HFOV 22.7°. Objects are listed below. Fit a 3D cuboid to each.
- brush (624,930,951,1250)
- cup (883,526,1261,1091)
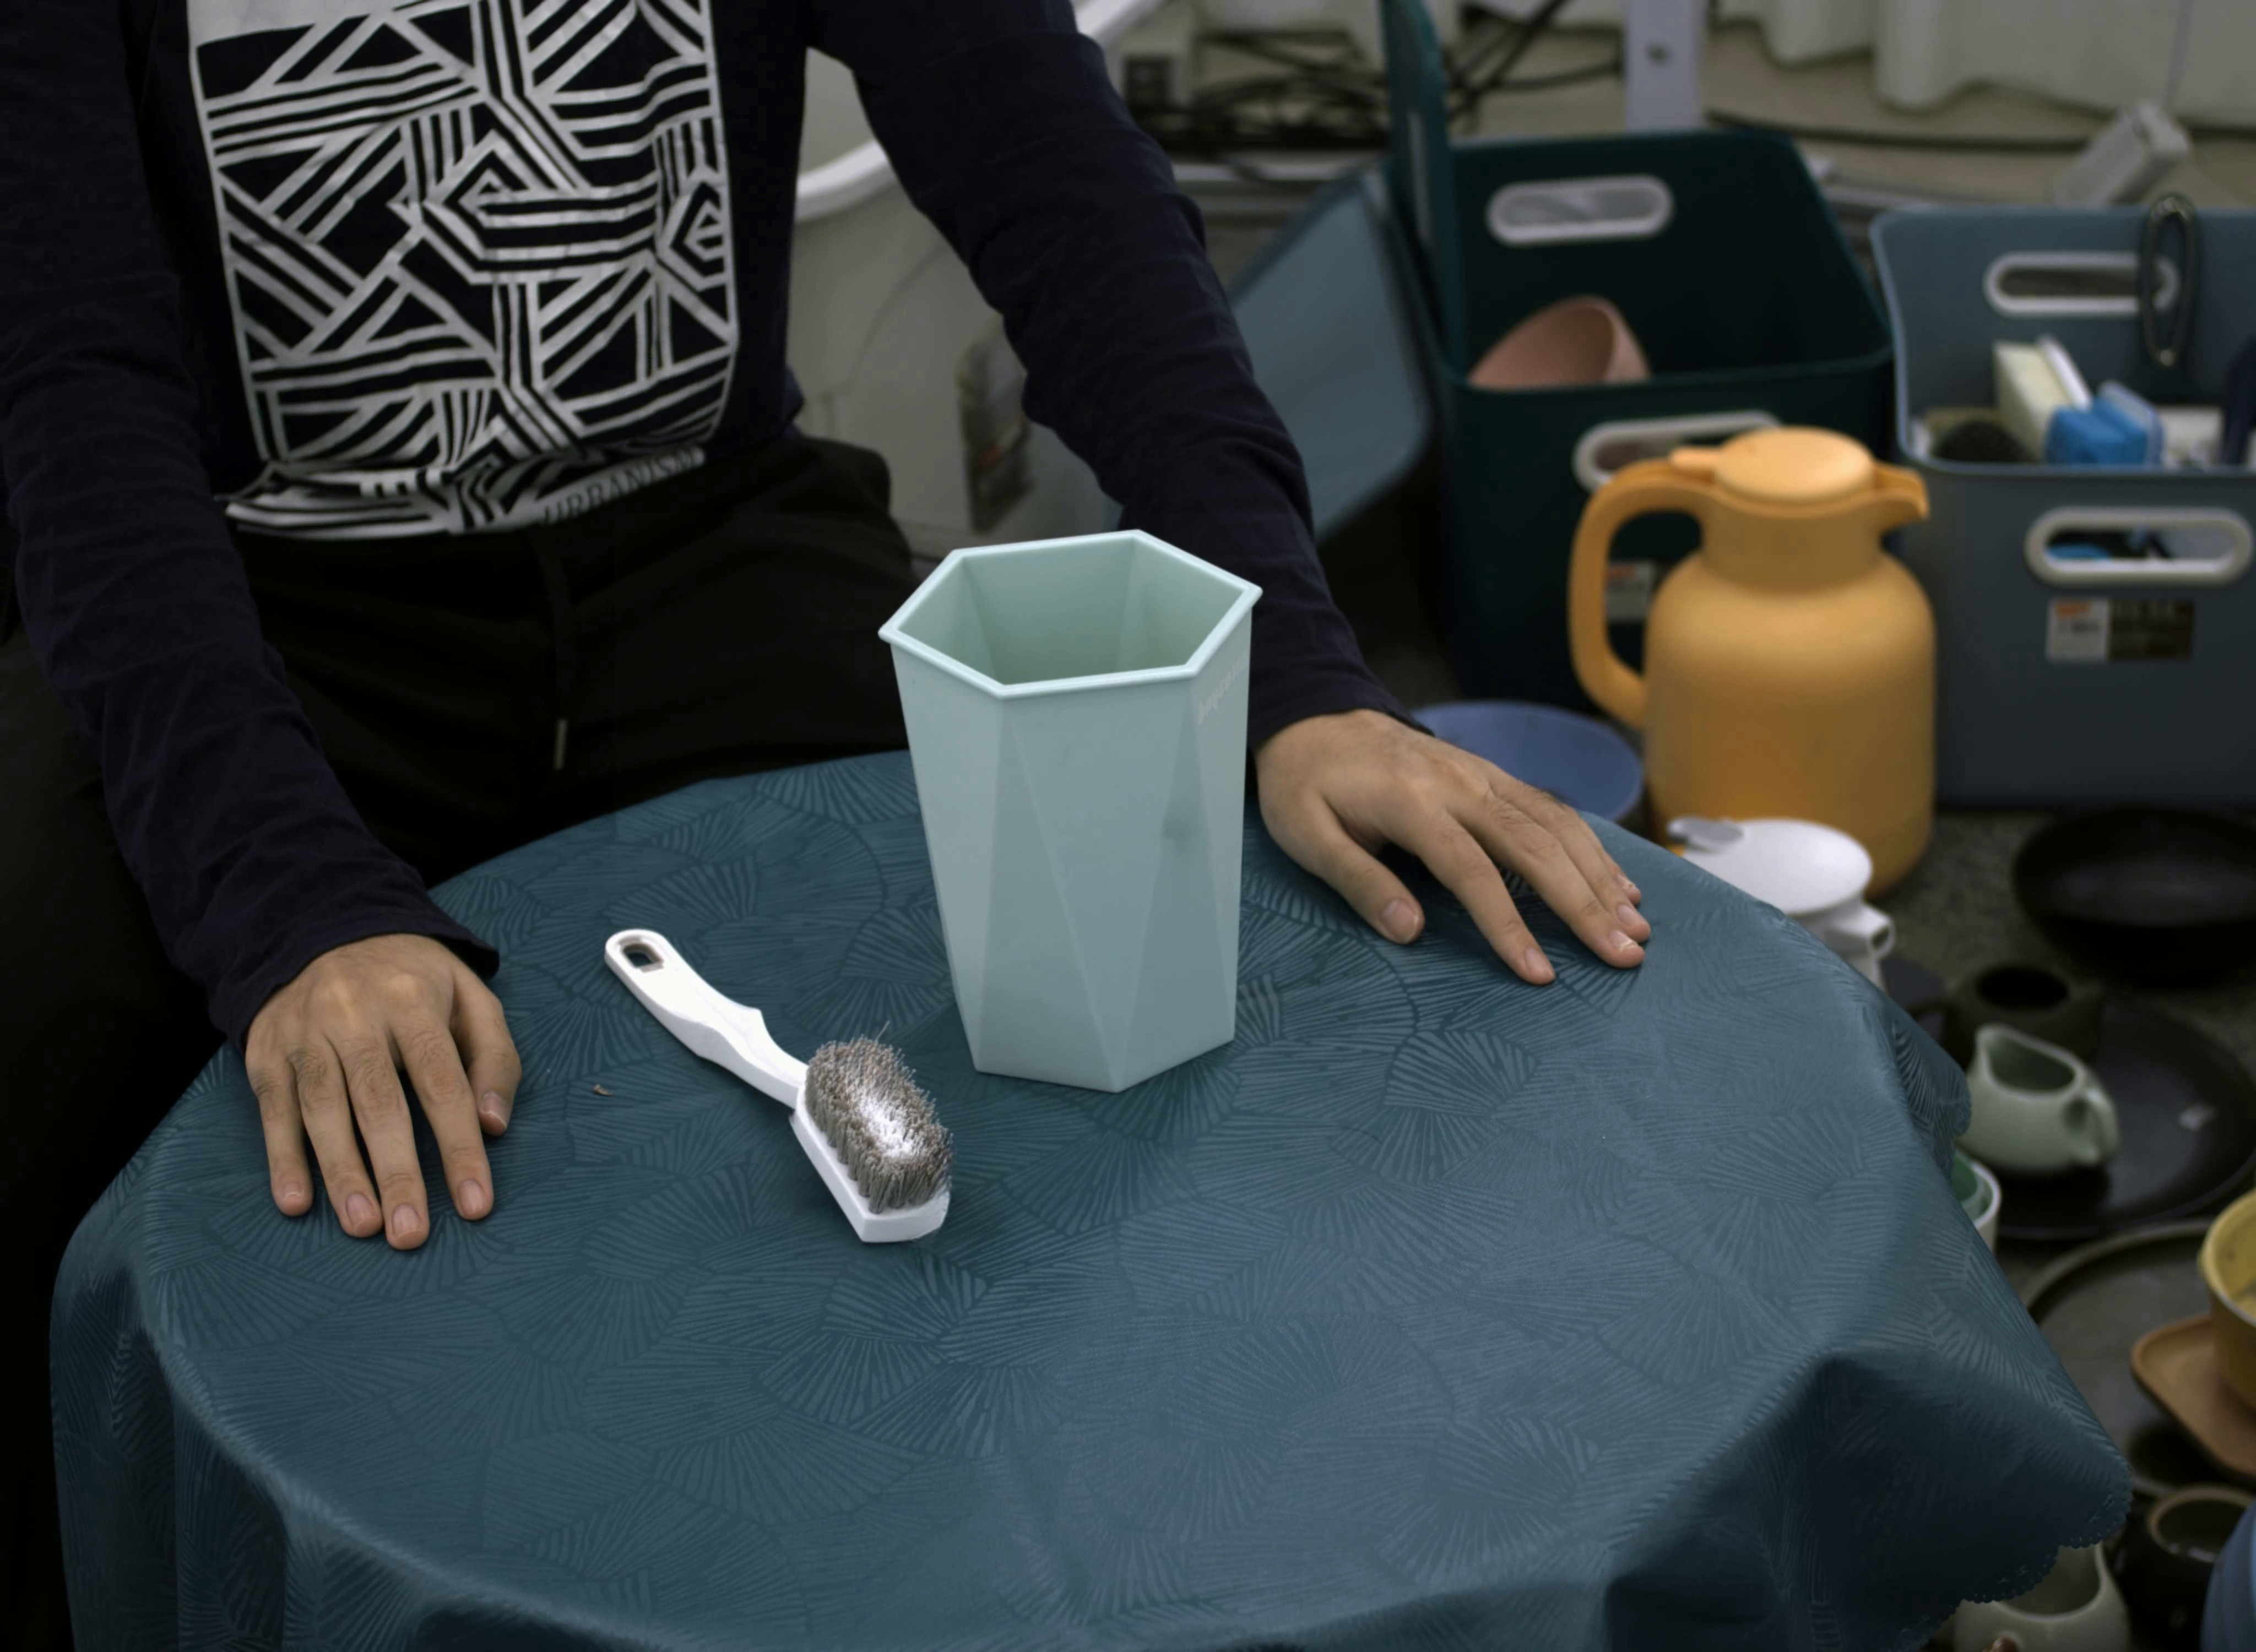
[{"bbox_3d":[-0.122,0.072,1.916,0.034,0.050,0.245,-15,29,-21],"label":"brush"},{"bbox_3d":[-0.013,-0.004,1.928,0.114,0.161,0.133,5,27,19],"label":"cup"}]
